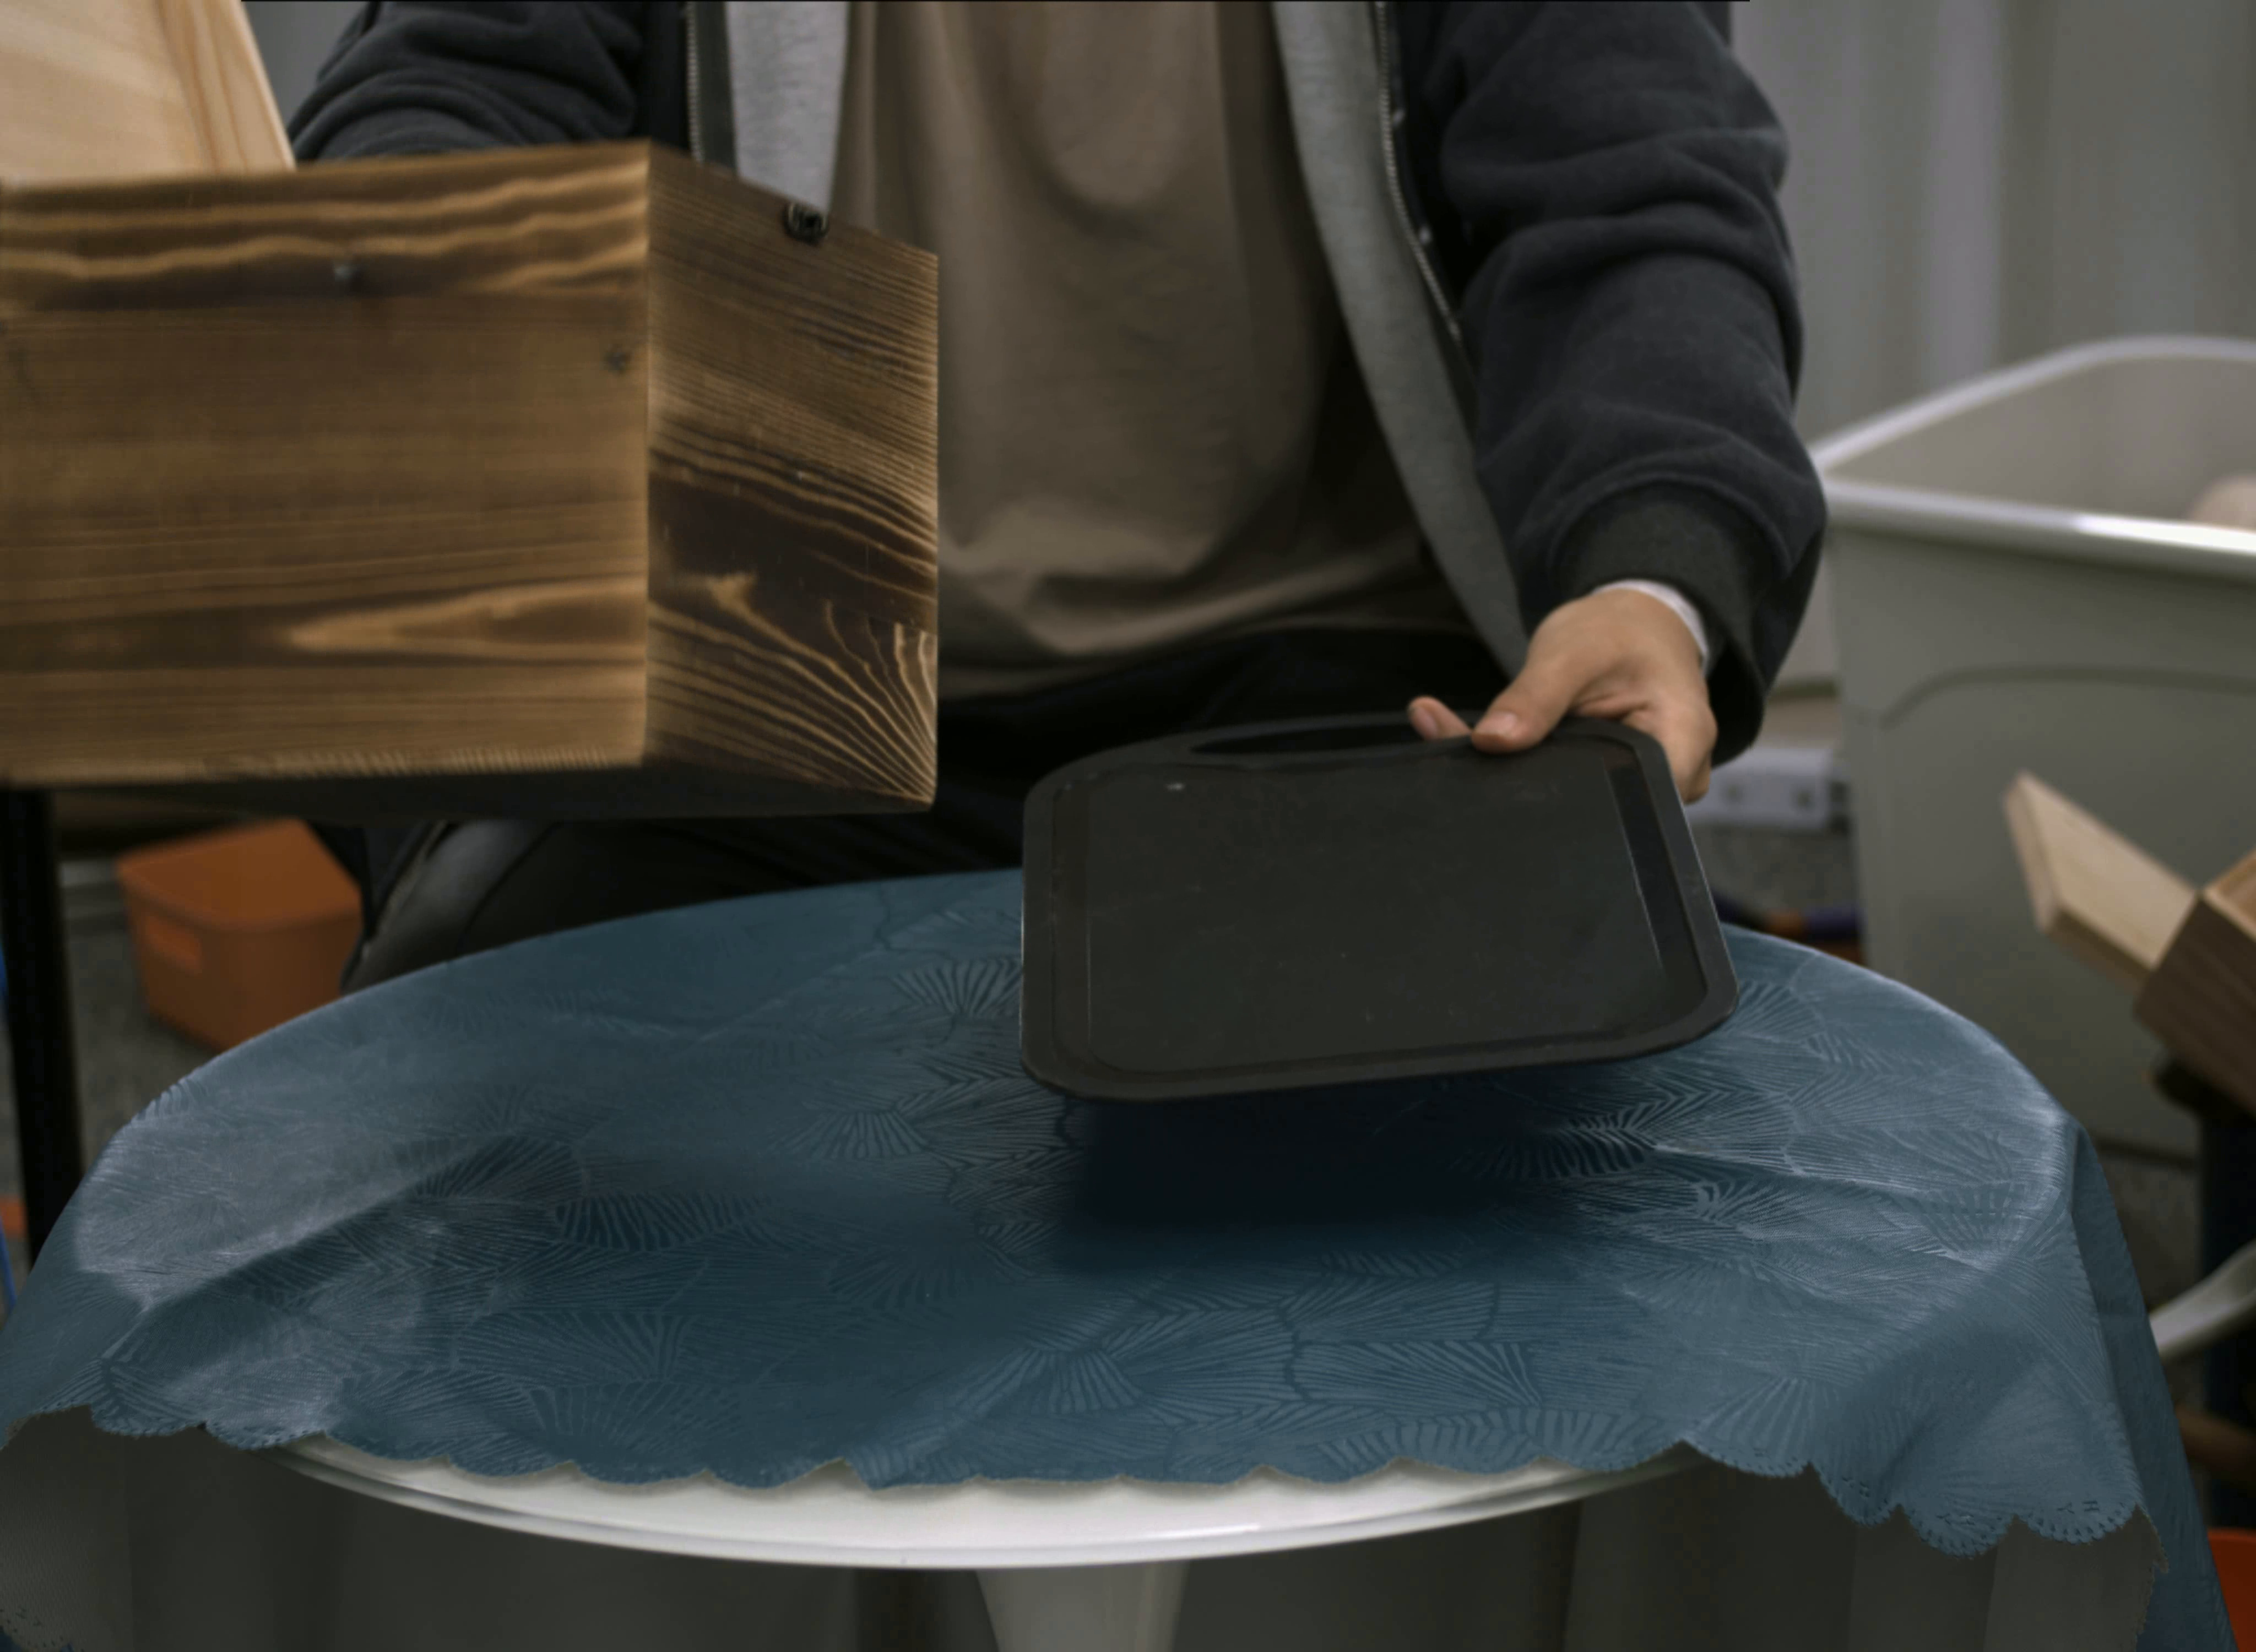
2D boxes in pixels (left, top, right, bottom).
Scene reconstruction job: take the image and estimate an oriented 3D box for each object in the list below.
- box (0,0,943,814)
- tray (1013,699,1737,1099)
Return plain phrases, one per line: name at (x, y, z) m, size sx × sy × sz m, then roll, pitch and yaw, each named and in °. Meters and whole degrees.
box at (-0.233, -0.190, 1.575) m, size 0.326 × 0.378 × 0.205 m, roll -2°, pitch -5°, yaw 21°
tray at (0.069, 0.015, 1.642) m, size 0.210 × 0.010 × 0.327 m, roll -6°, pitch 20°, yaw 2°
